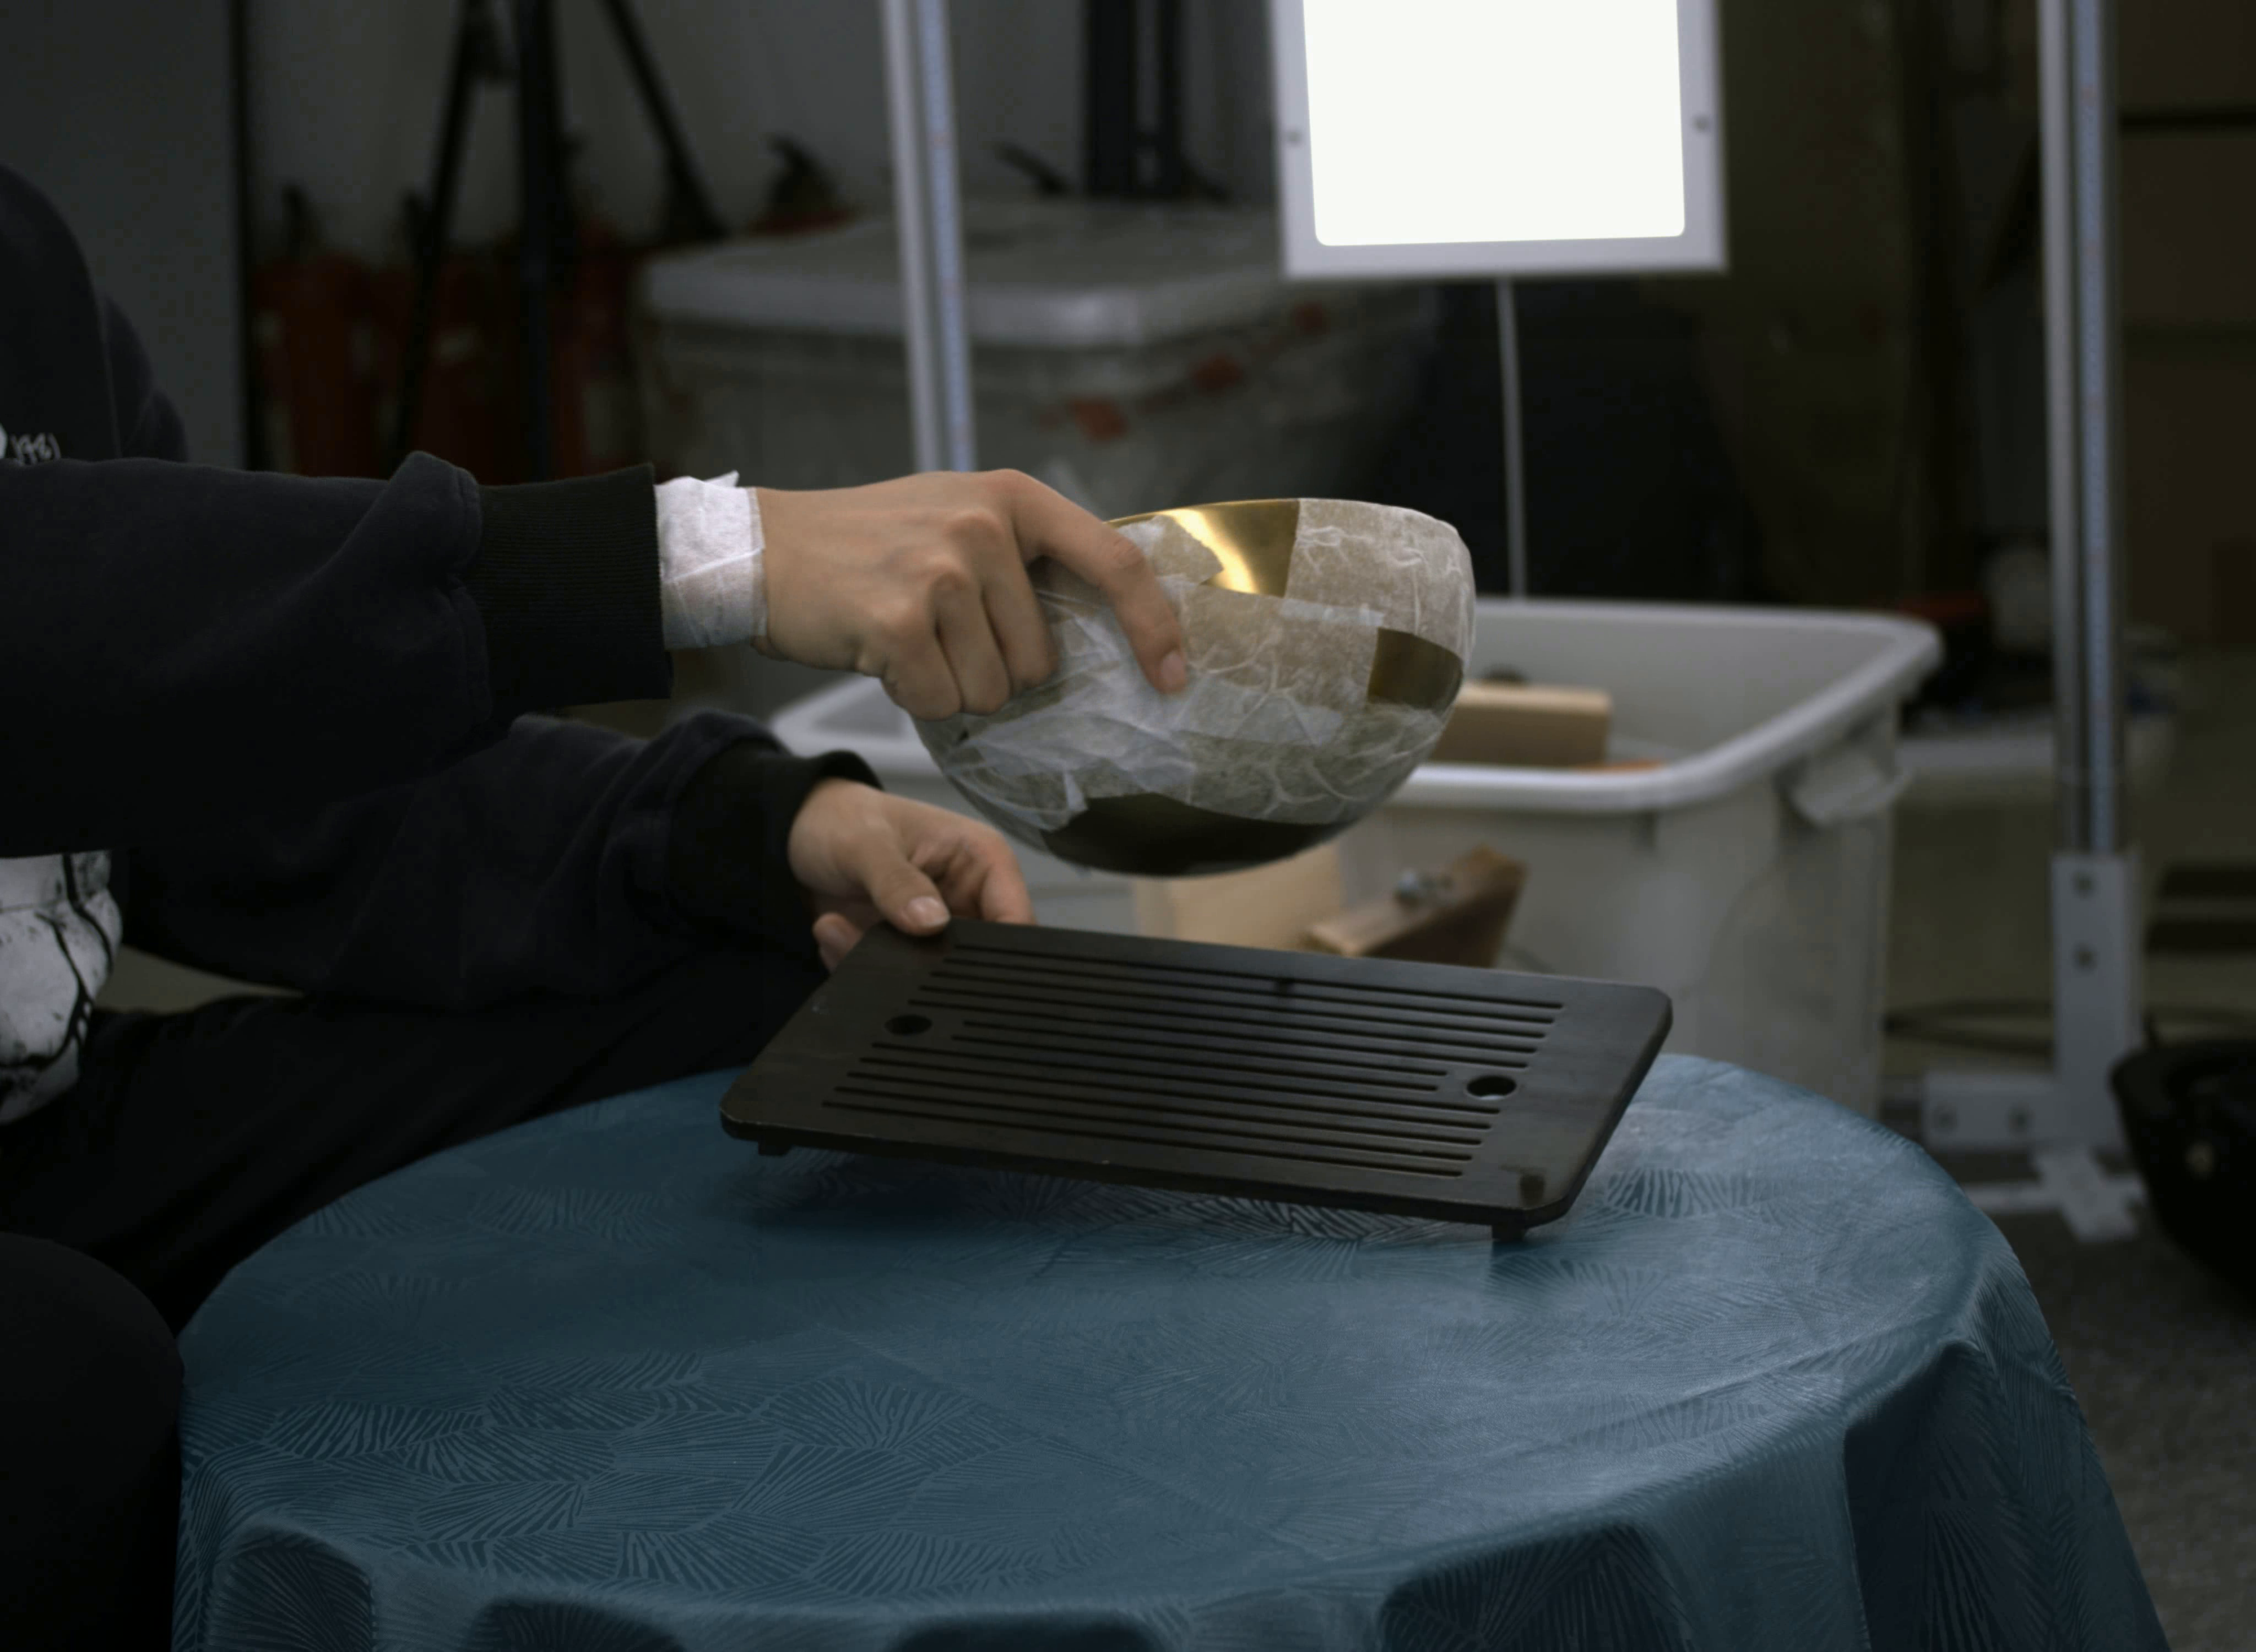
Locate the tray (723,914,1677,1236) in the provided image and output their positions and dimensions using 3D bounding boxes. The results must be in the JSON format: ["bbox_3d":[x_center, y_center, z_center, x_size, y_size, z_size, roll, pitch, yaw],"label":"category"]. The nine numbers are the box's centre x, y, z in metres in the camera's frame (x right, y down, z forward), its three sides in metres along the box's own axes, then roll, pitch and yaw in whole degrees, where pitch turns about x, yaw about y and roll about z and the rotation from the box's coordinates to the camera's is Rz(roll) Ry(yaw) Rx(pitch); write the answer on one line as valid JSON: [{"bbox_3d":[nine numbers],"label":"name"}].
[{"bbox_3d":[0.027,0.085,1.923,0.310,0.019,0.167,5,26,21],"label":"tray"}]

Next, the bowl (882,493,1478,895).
[{"bbox_3d":[0.023,-0.030,1.877,0.213,0.095,0.215,-8,-18,-4],"label":"bowl"}]
